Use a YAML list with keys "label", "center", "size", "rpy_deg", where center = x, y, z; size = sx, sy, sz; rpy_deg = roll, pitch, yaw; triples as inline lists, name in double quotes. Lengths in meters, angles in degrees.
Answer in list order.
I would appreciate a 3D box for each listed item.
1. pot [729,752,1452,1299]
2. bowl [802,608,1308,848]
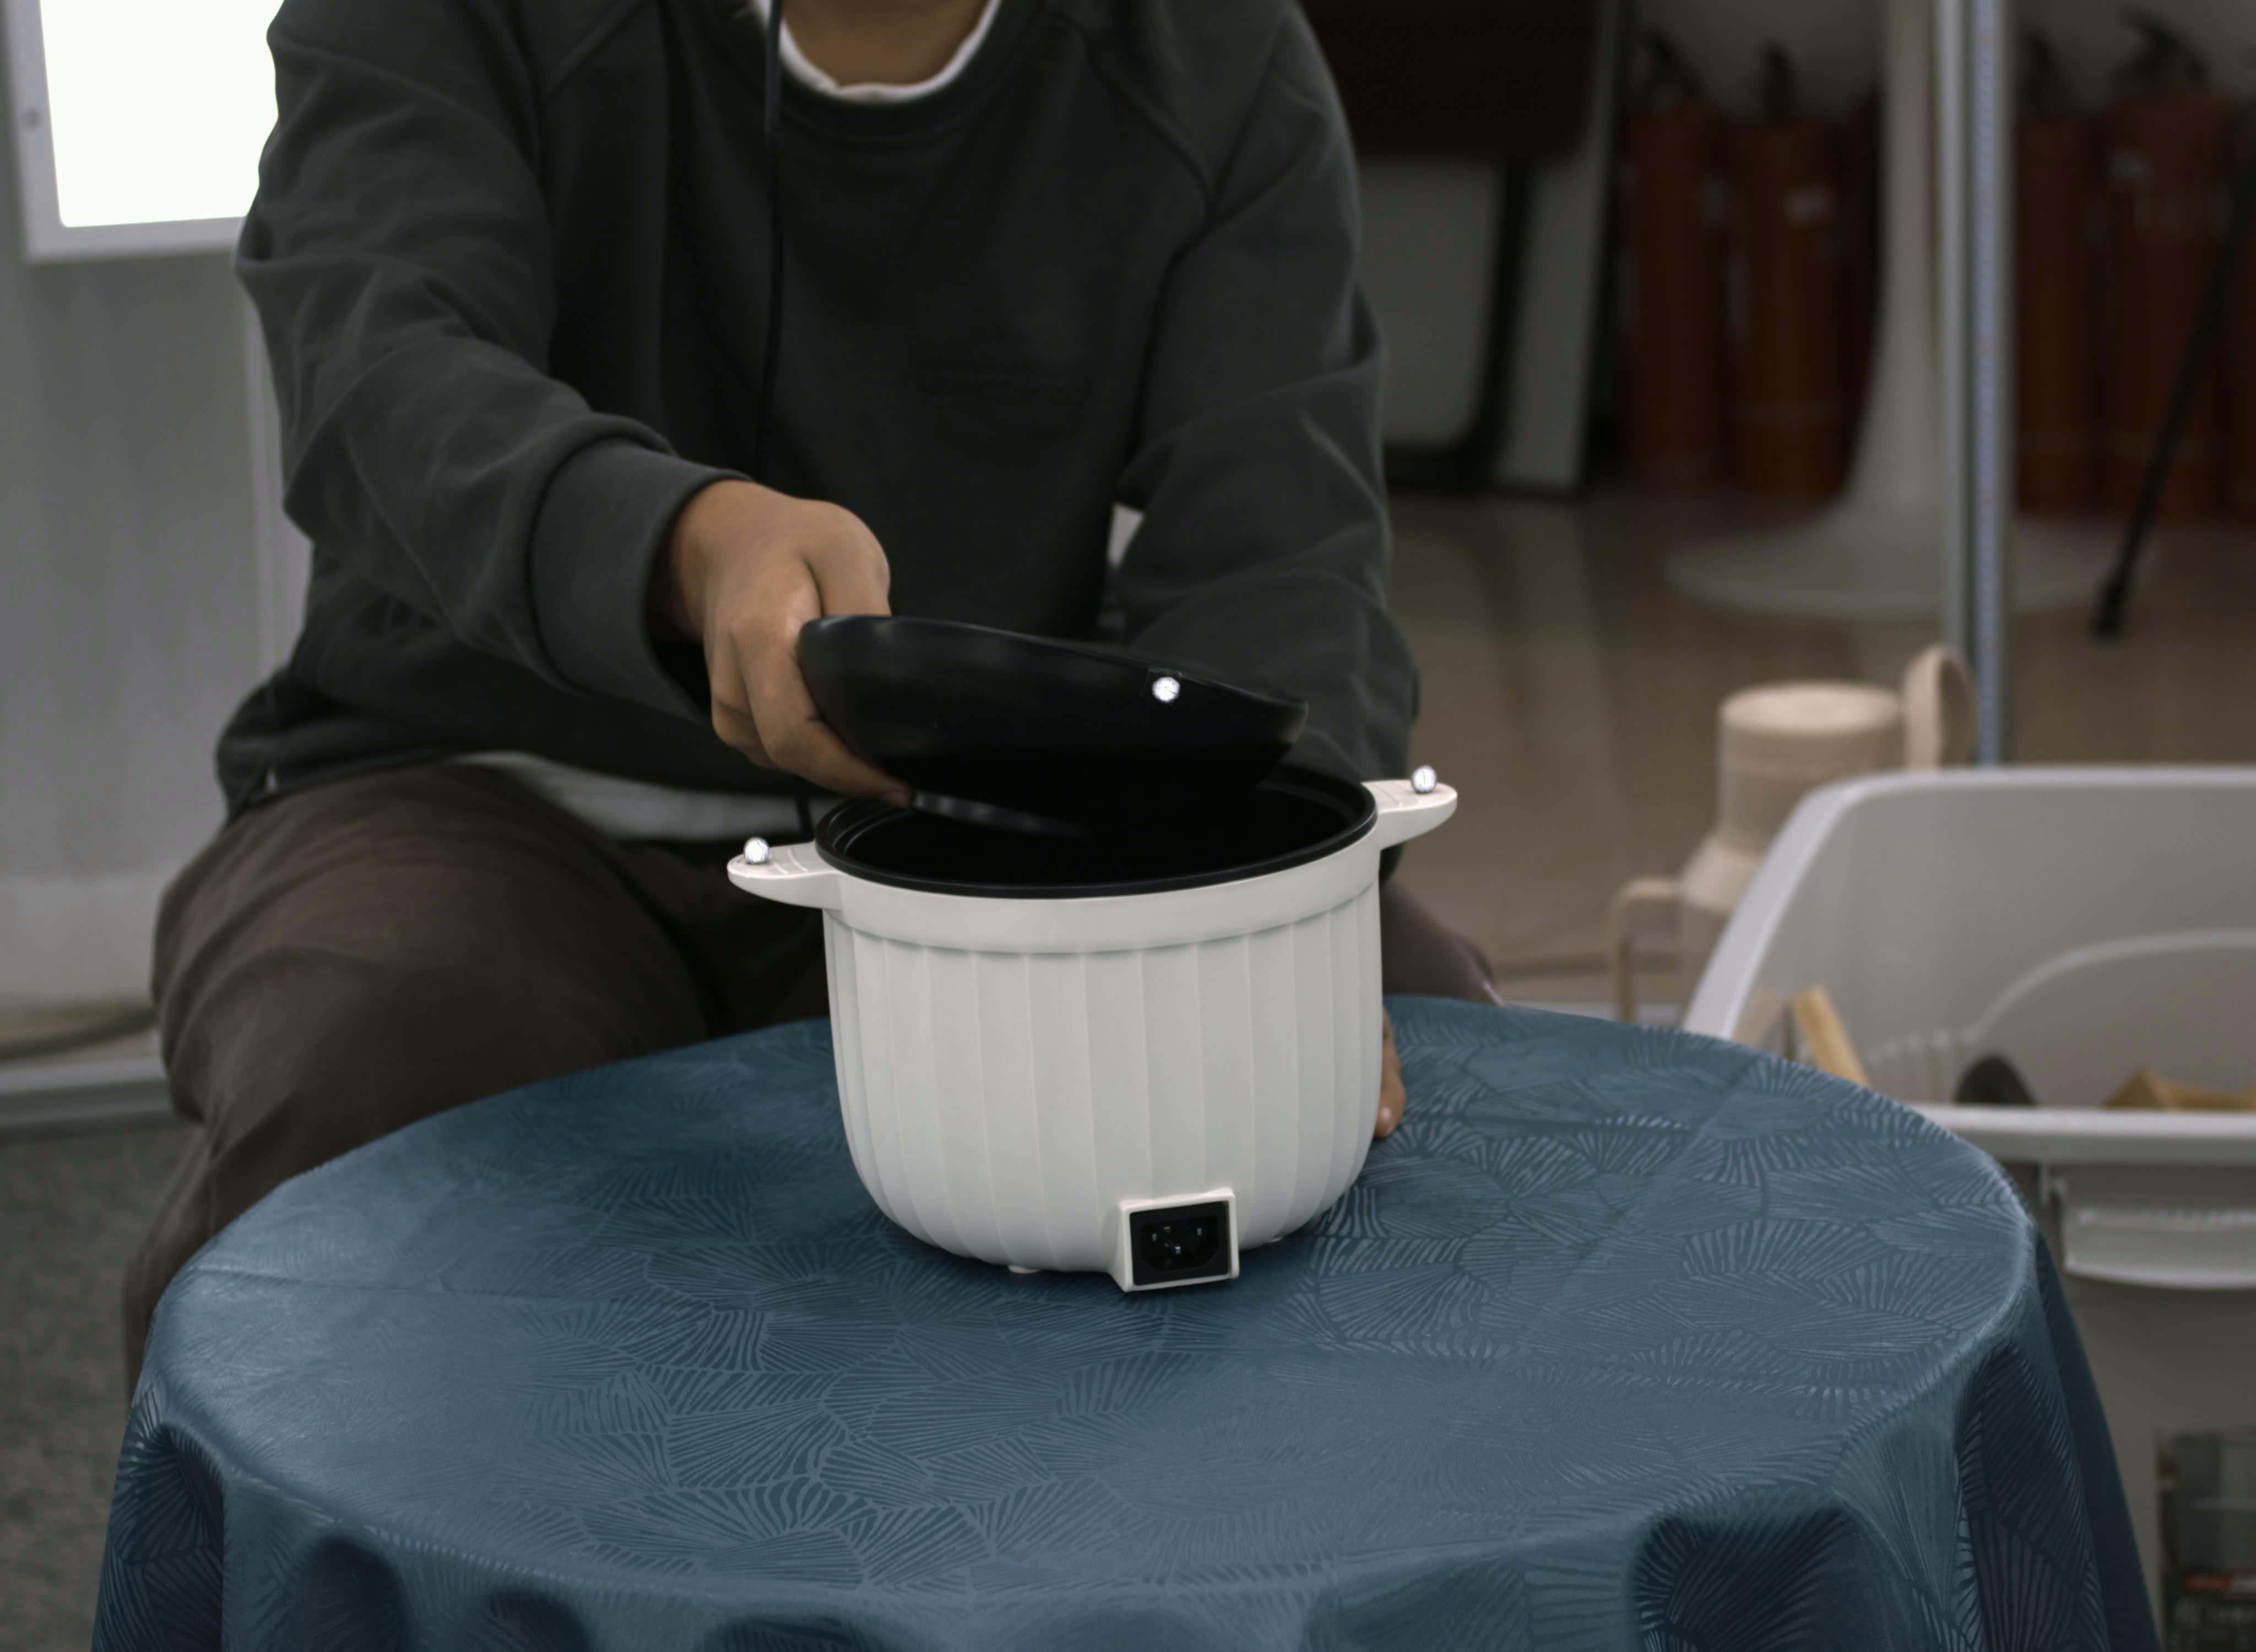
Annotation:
- label: "pot"
  center: [-0.009, 0.060, 1.736]
  size: [0.236, 0.144, 0.192]
  rpy_deg: [-6, 17, -13]
- label: "bowl"
  center: [-0.029, -0.030, 1.716]
  size: [0.170, 0.067, 0.136]
  rpy_deg: [11, 0, 19]
